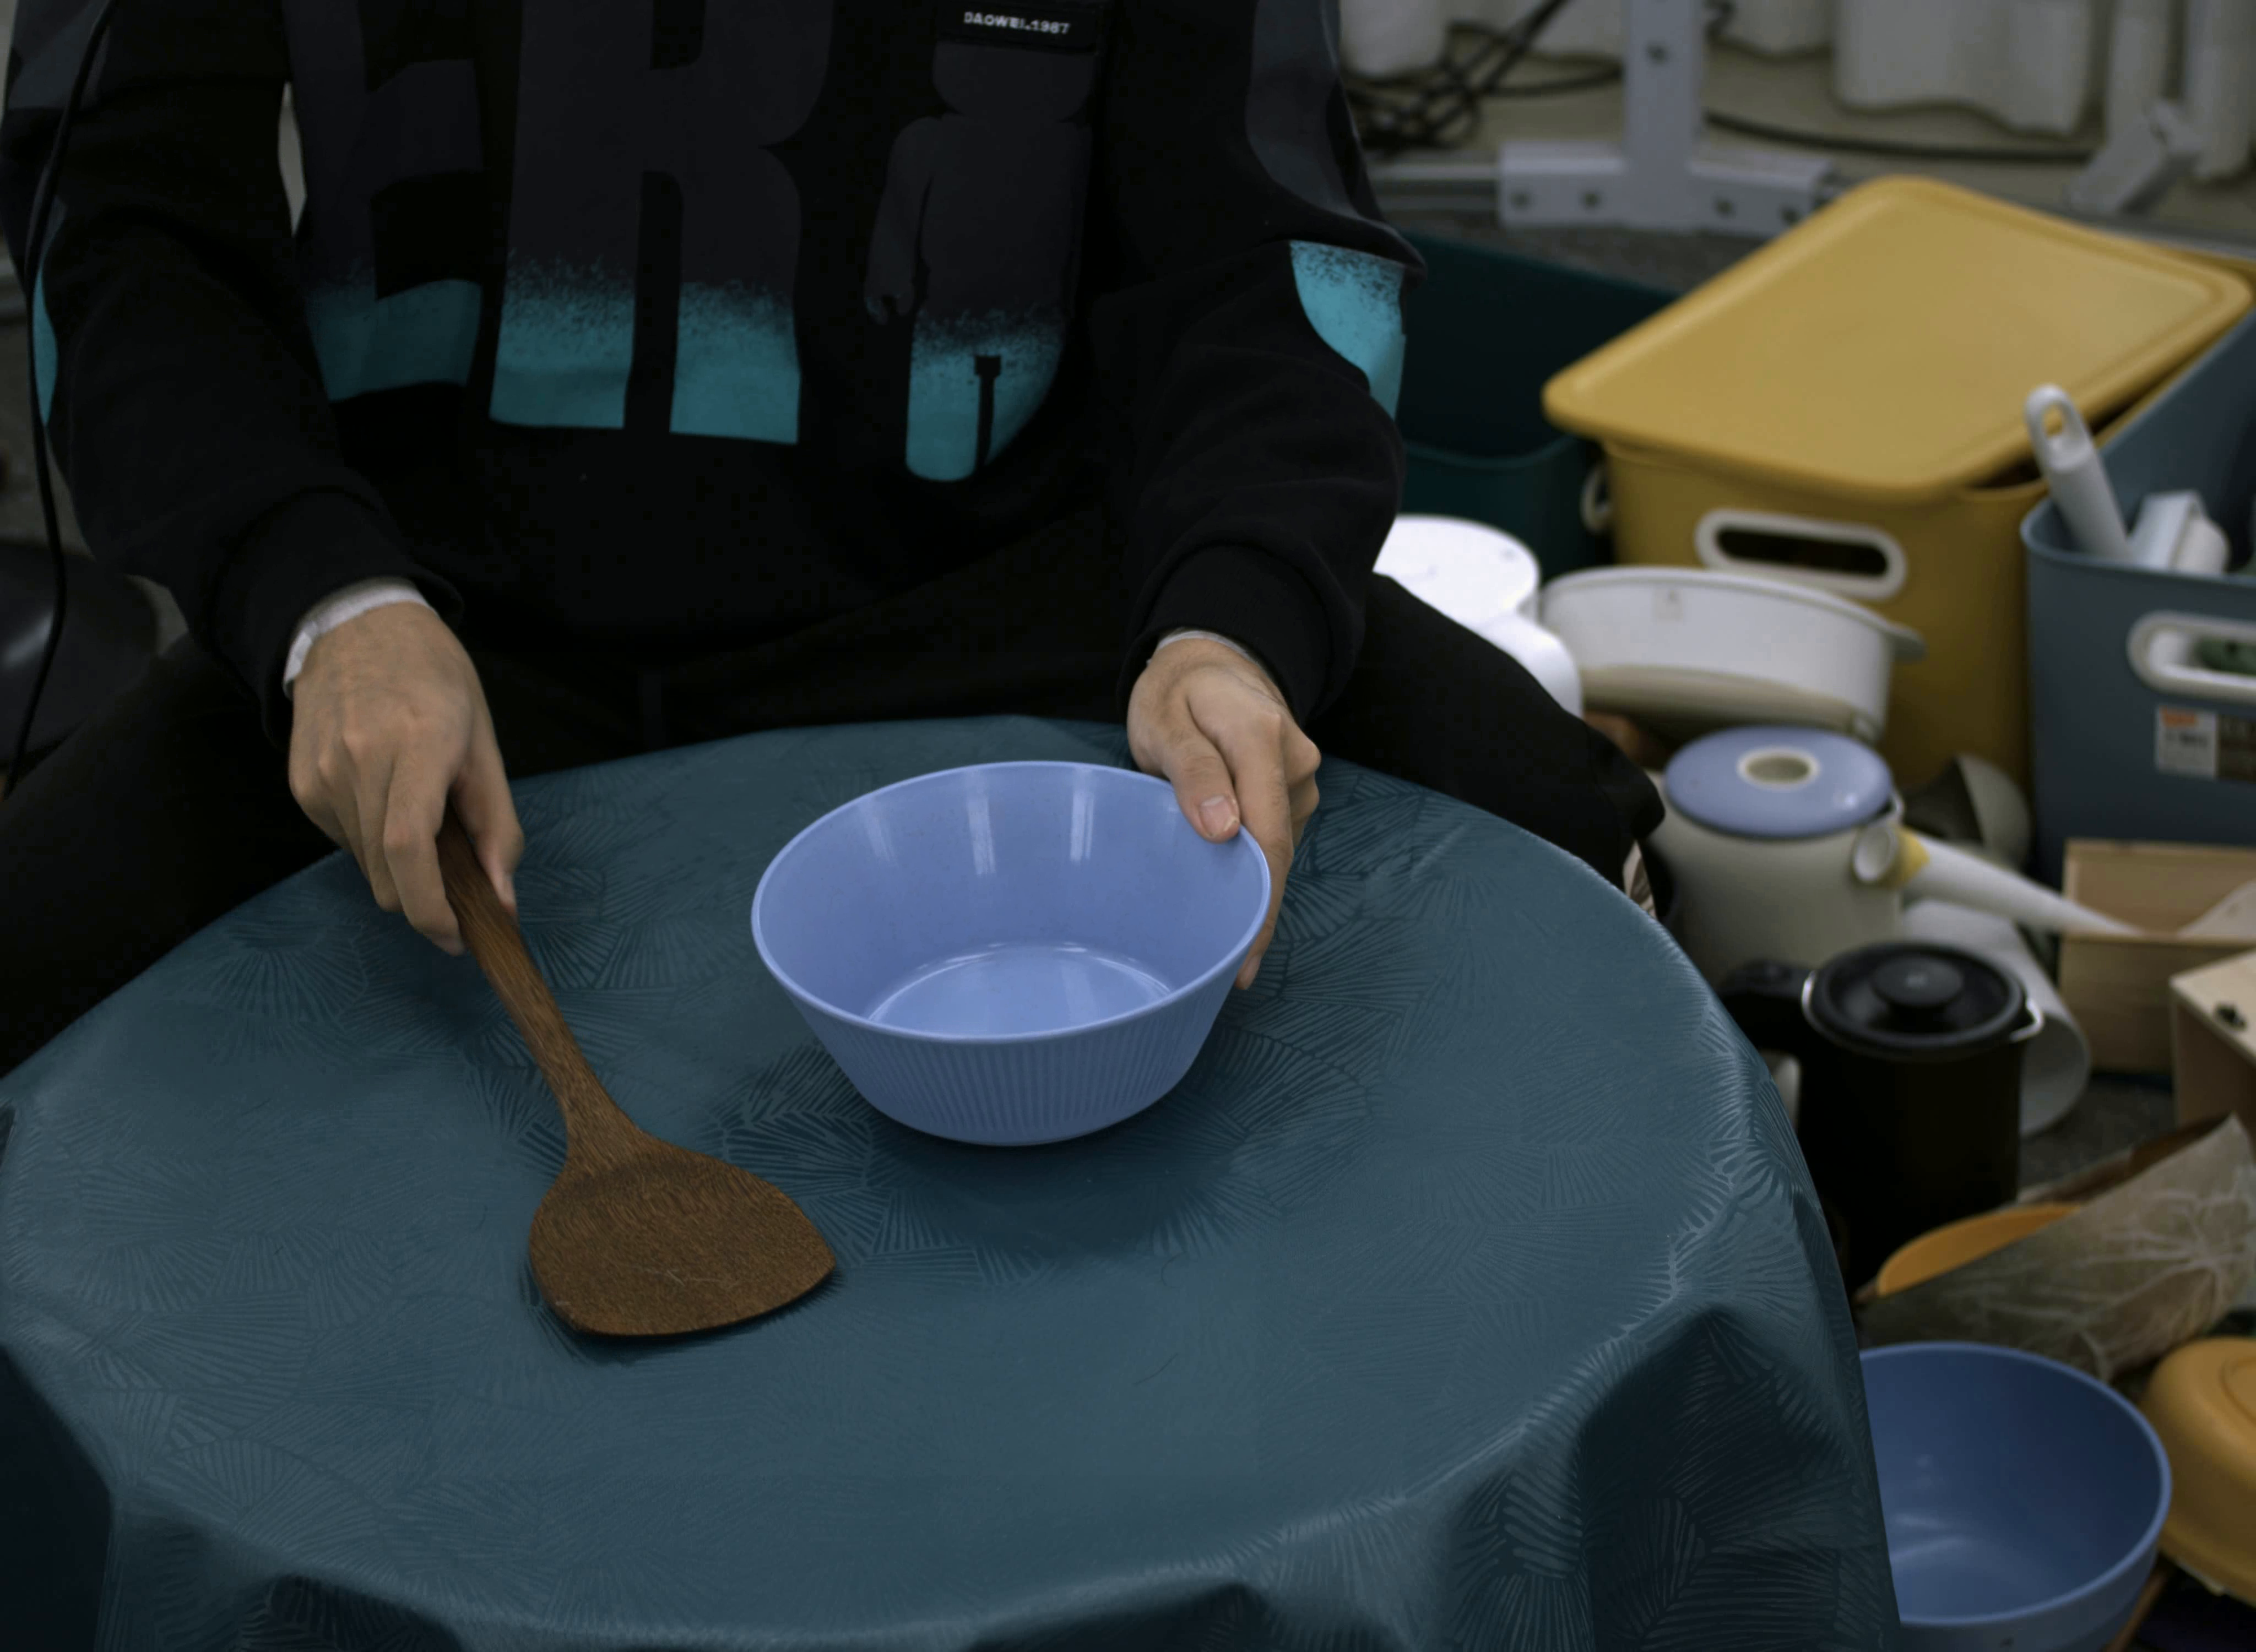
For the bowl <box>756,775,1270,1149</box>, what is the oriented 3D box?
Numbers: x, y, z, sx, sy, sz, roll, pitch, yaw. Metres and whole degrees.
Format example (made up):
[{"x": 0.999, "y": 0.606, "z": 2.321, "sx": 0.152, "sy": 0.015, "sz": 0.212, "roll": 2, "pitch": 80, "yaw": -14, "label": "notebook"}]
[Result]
[{"x": -0.038, "y": 0.053, "z": 1.912, "sx": 0.175, "sy": 0.069, "sz": 0.179, "roll": -2, "pitch": 29, "yaw": 2, "label": "bowl"}]

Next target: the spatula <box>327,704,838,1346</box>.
[{"x": -0.208, "y": 0.059, "z": 1.936, "sx": 0.096, "sy": 0.015, "sz": 0.390, "roll": -12, "pitch": 38, "yaw": -21, "label": "spatula"}]
